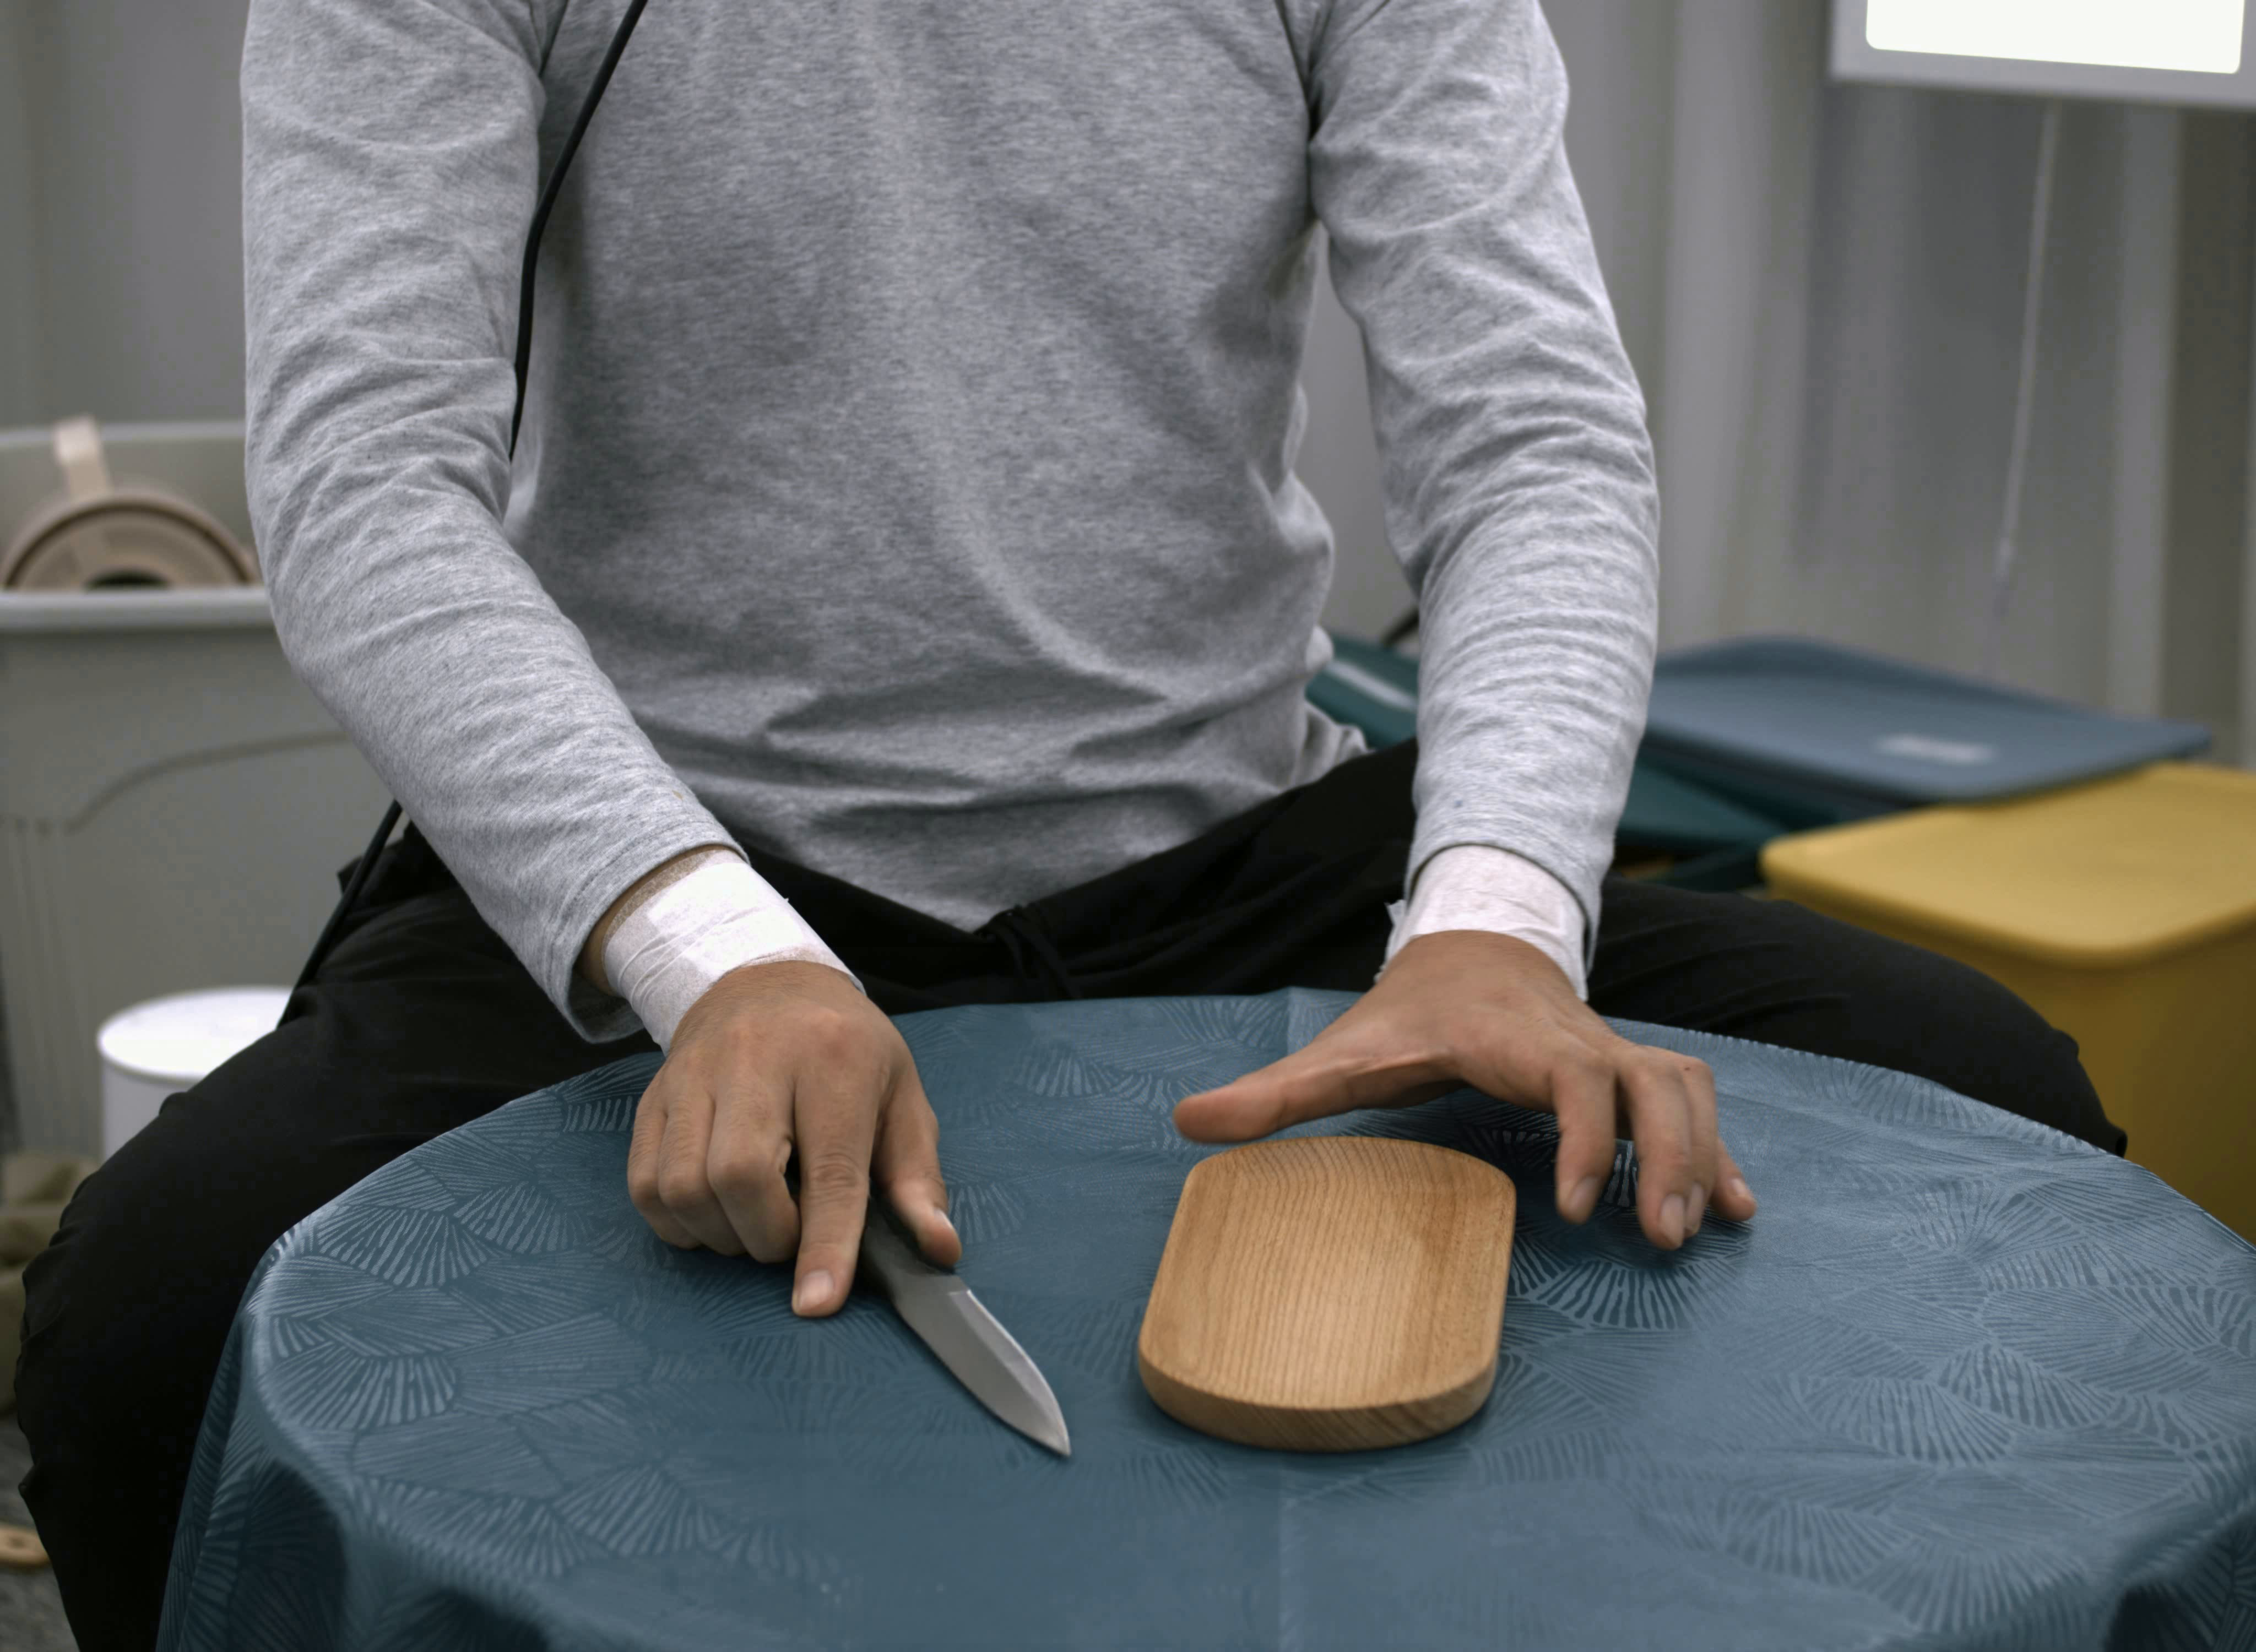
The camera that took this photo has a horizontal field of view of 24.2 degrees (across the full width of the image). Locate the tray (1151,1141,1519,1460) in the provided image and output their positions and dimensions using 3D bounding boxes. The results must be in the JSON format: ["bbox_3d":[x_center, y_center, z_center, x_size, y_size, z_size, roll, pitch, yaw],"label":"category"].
[{"bbox_3d":[0.062,0.134,1.520,0.101,0.020,0.230,0,17,4],"label":"tray"}]

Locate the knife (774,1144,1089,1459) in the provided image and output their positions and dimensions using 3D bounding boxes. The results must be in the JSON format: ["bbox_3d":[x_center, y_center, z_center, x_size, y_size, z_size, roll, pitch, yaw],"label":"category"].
[{"bbox_3d":[-0.059,0.137,1.513,0.024,0.016,0.235,-13,21,-19],"label":"knife"}]
